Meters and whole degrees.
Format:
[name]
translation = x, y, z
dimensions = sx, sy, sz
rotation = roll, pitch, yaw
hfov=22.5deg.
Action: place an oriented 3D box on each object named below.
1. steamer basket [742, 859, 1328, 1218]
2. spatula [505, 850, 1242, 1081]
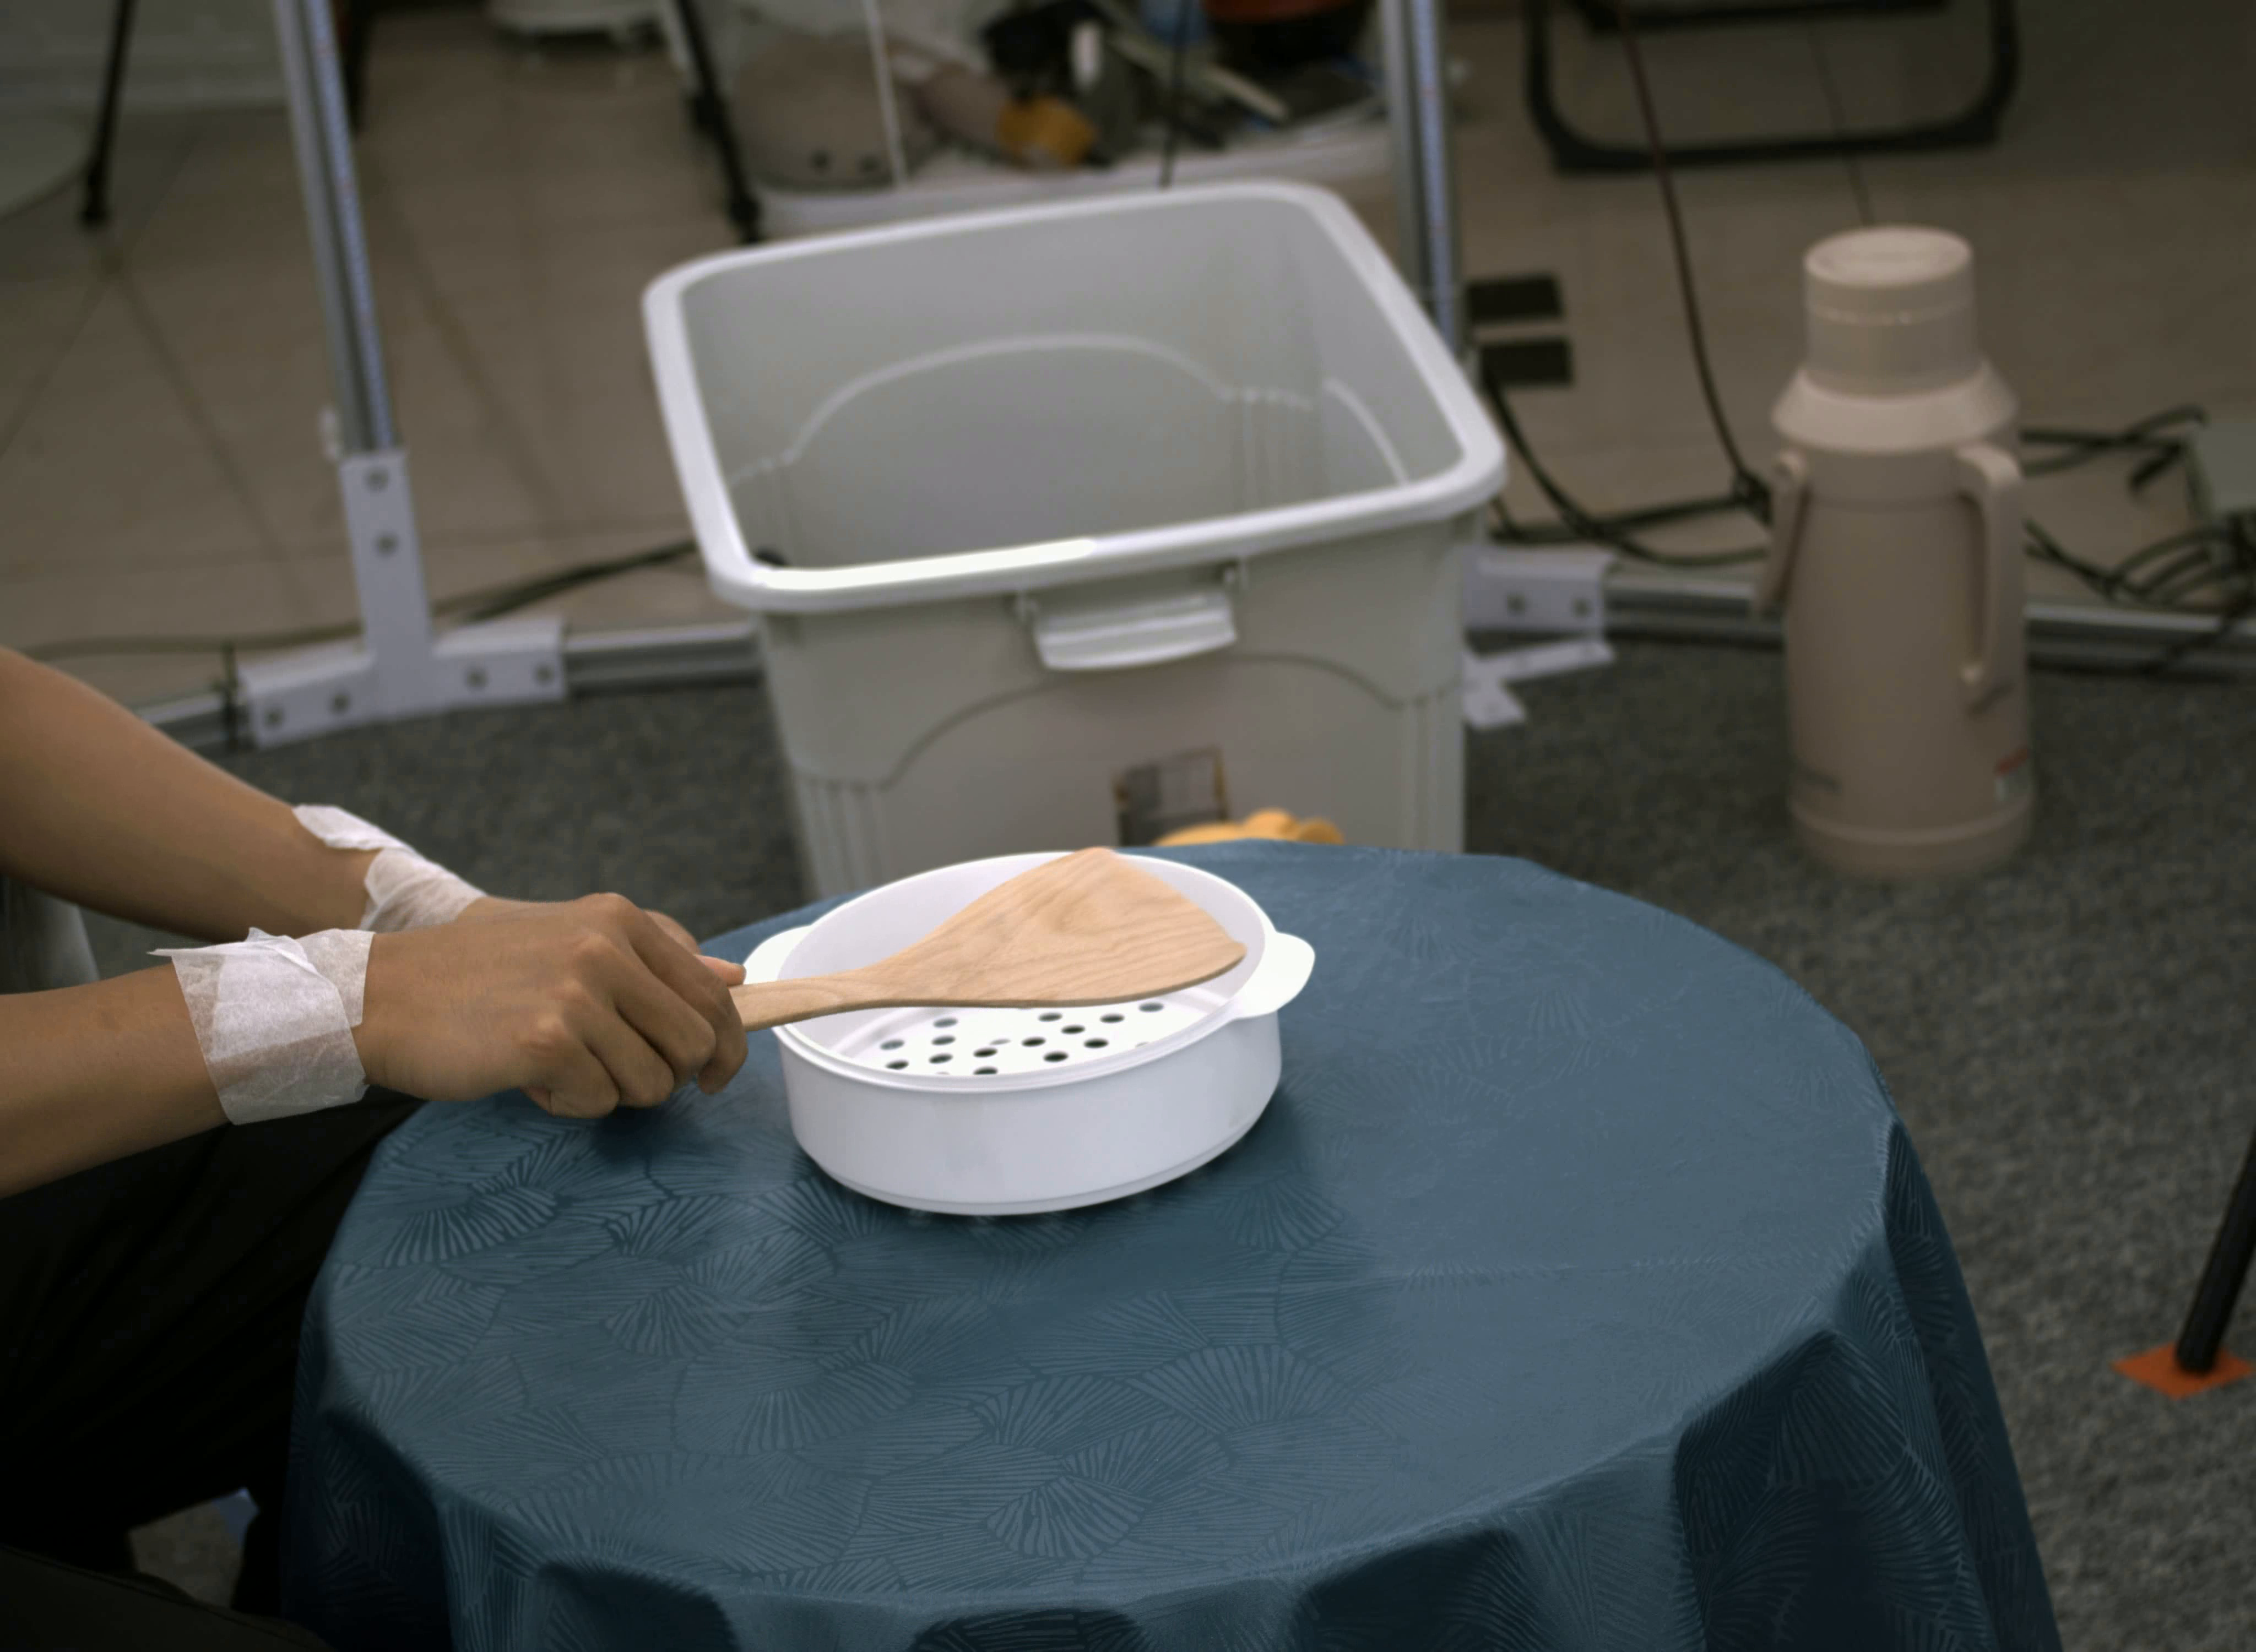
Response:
[steamer basket]
translation = -0.034, 0.082, 2.202
dimensions = 0.230, 0.070, 0.199
rotation = 1, 25, 16
[spatula]
translation = -0.095, 0.054, 2.047
dimensions = 0.326, 0.017, 0.079
rotation = -11, 43, -44
